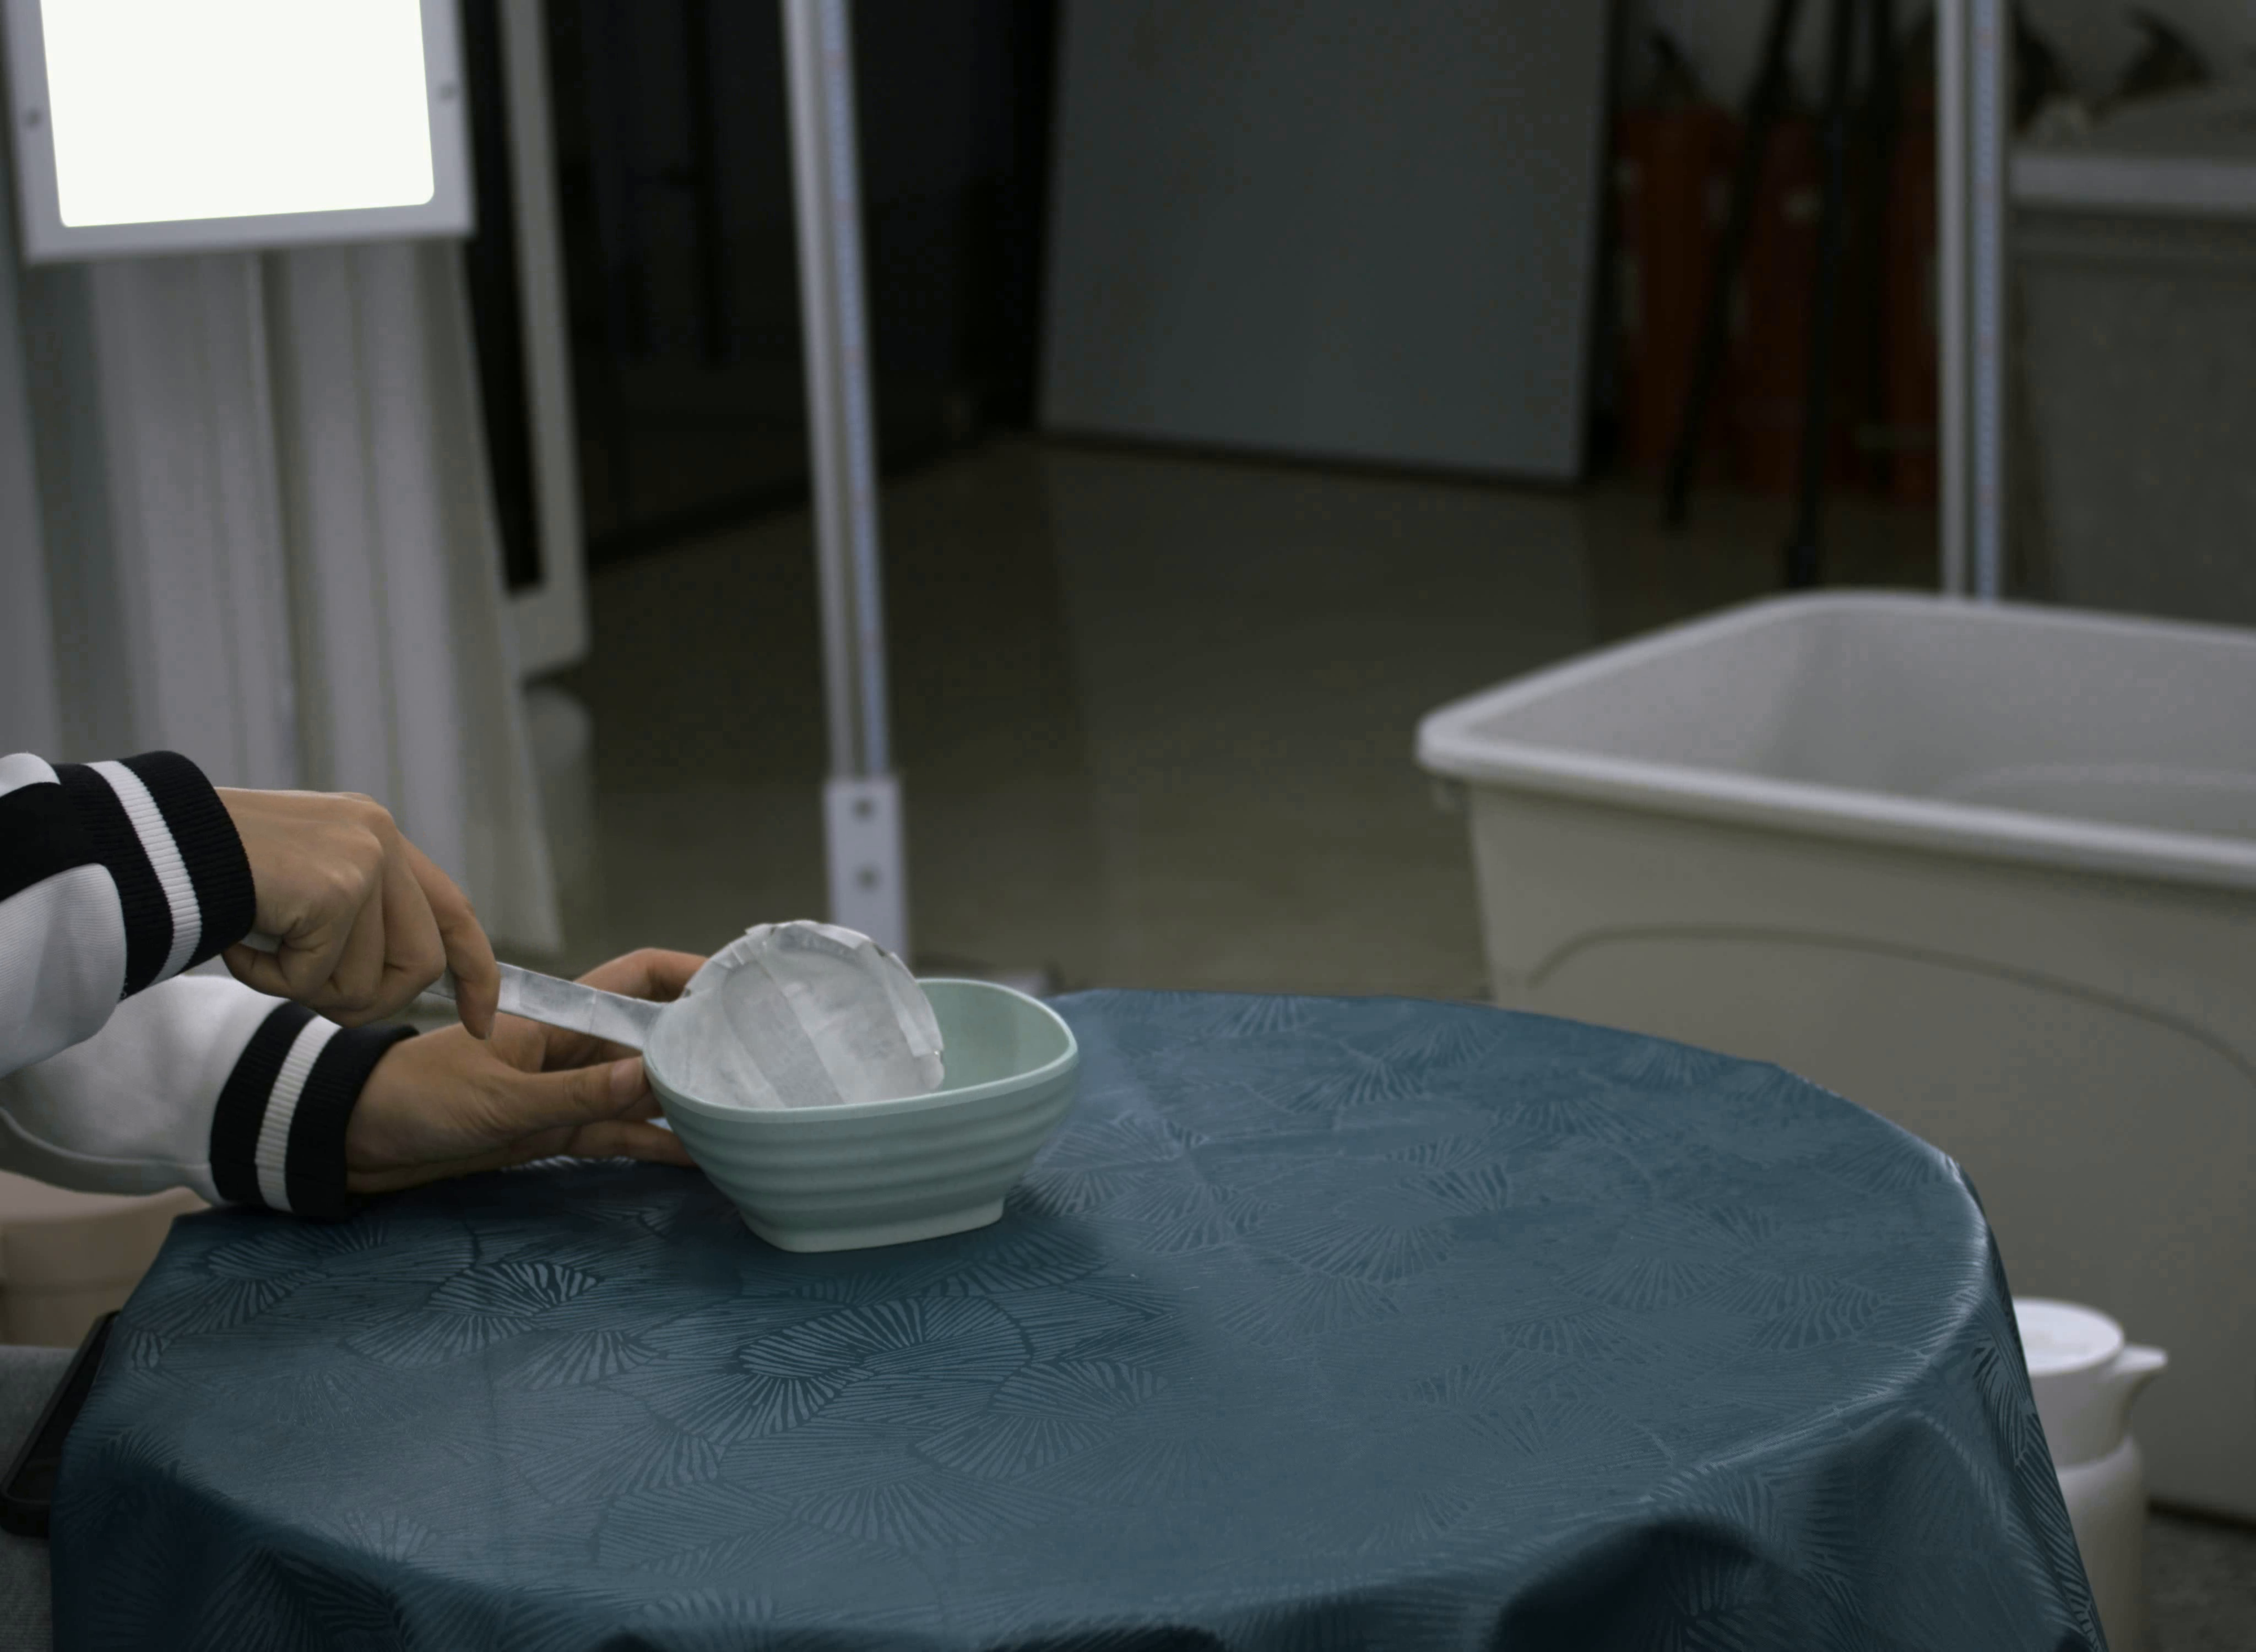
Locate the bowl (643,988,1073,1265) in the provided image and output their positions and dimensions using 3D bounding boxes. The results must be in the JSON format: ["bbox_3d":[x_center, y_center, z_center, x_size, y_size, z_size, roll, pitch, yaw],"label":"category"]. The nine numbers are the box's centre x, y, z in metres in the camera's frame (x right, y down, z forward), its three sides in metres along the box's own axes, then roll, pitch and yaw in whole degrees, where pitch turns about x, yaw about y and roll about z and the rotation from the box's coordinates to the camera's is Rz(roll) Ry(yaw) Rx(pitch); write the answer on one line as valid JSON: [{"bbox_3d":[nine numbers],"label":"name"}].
[{"bbox_3d":[-0.087,0.101,1.766,0.149,0.059,0.152,-4,14,0],"label":"bowl"}]

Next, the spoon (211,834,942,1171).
[{"bbox_3d":[-0.166,0.044,1.689,0.060,0.102,0.272,-1,-18,40],"label":"spoon"}]
